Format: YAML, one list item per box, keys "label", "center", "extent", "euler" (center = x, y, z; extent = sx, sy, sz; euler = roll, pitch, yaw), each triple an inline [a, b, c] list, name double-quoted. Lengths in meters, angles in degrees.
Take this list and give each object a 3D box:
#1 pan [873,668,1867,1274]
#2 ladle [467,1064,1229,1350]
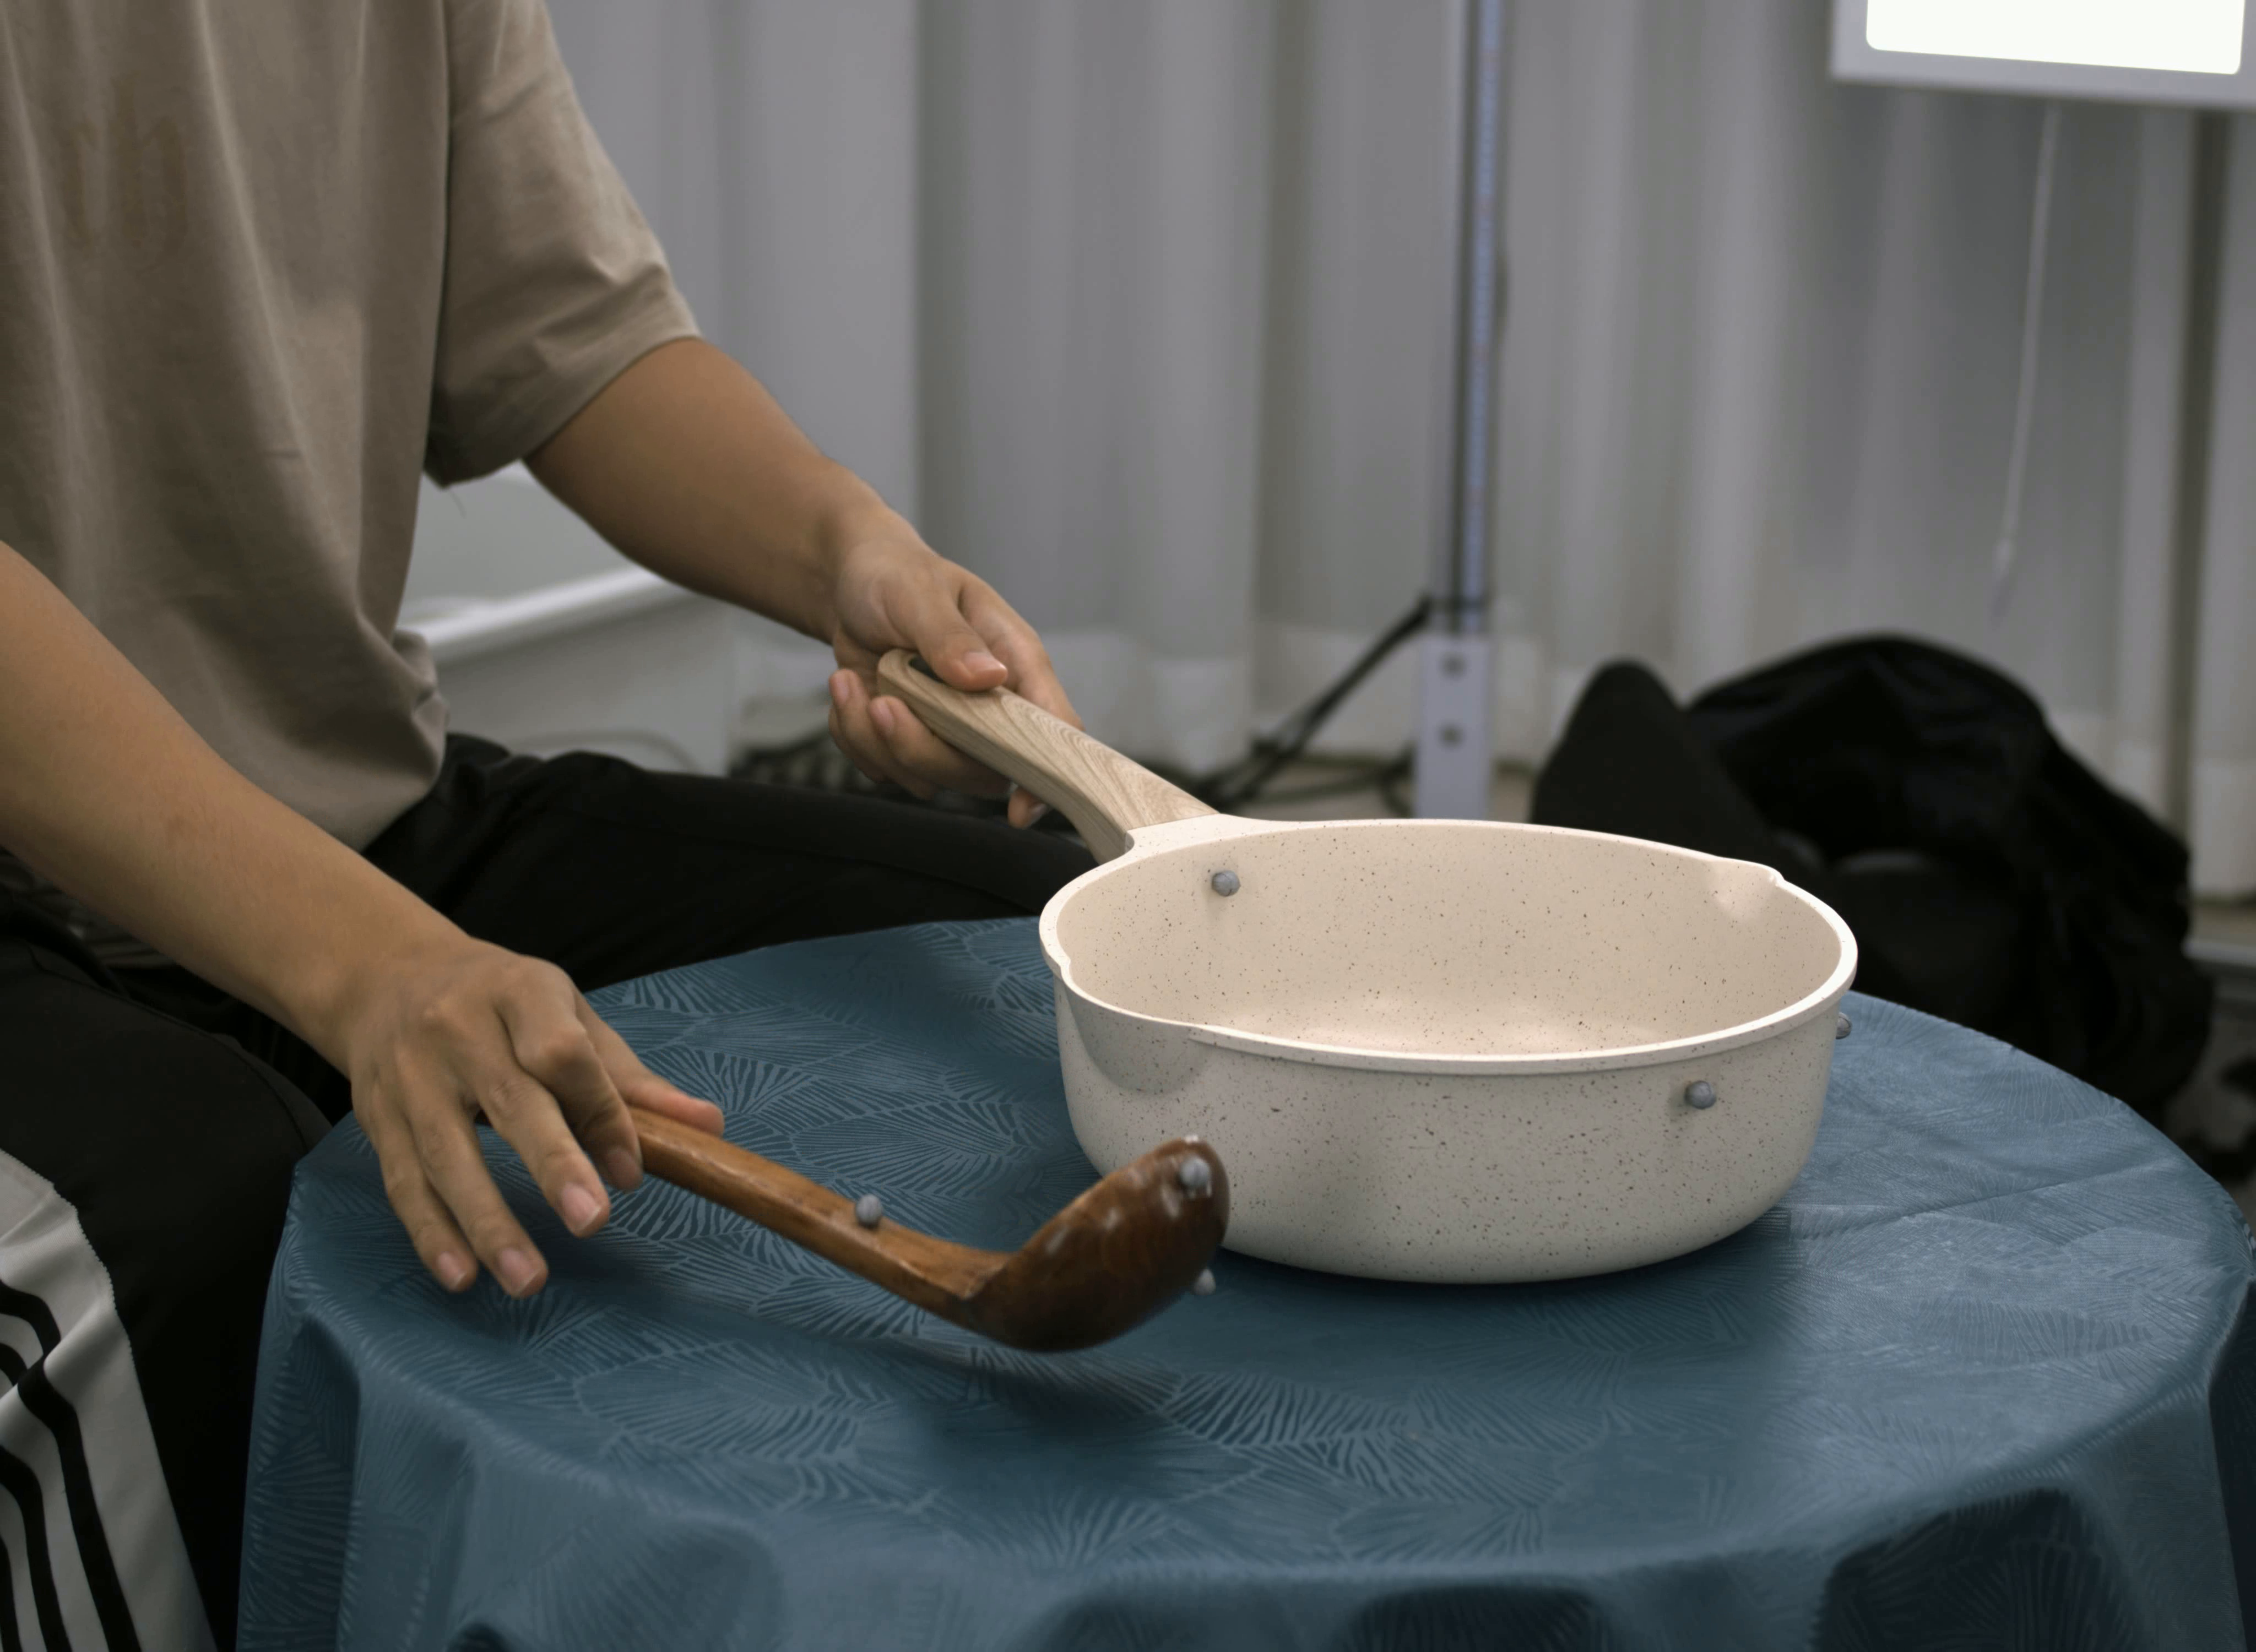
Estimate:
- label: "pan"
  center: [0.048, 0.041, 1.699]
  extent: [0.264, 0.103, 0.429]
  euler: [-12, 20, -34]
- label: "ladle"
  center: [-0.089, 0.085, 1.498]
  extent: [0.270, 0.077, 0.082]
  euler: [20, 21, 35]
